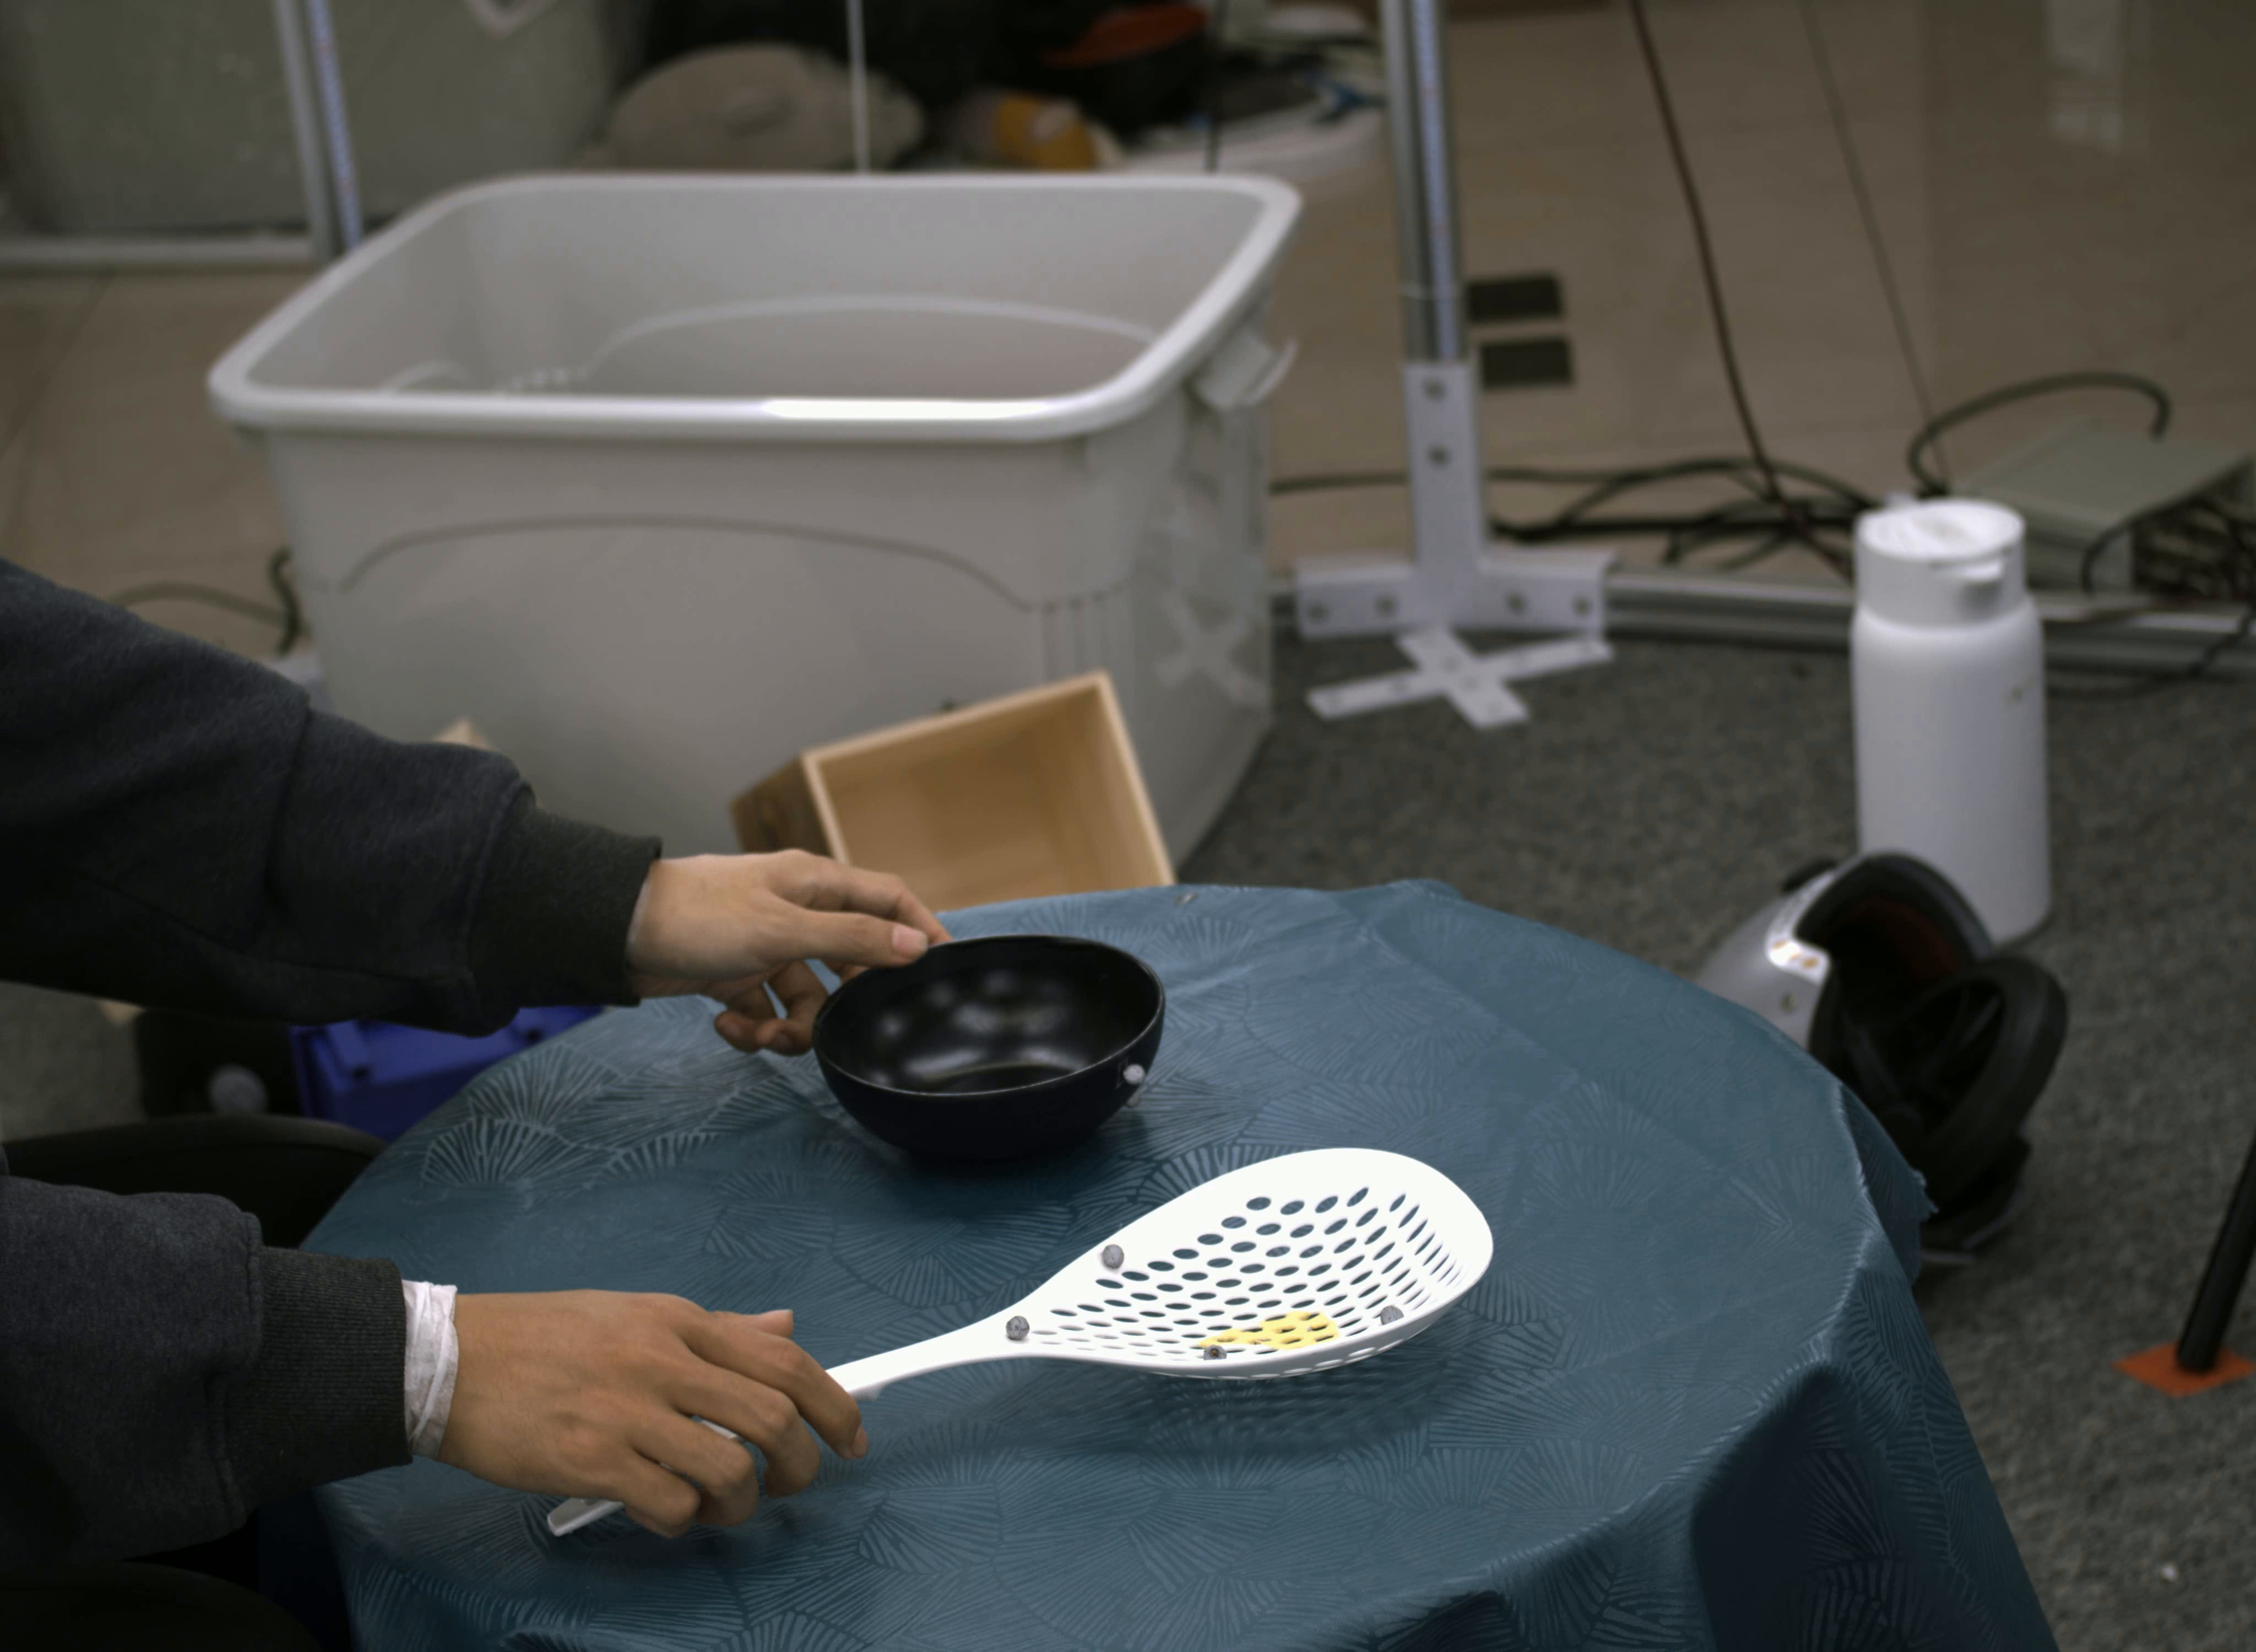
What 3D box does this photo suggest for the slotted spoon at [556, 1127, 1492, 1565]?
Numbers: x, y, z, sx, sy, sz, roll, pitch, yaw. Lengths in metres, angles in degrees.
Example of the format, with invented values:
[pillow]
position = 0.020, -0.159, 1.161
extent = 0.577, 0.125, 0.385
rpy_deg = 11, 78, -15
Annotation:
[slotted spoon]
position = -0.039, 0.189, 2.001
extent = 0.347, 0.051, 0.135
rpy_deg = -14, 29, -14
